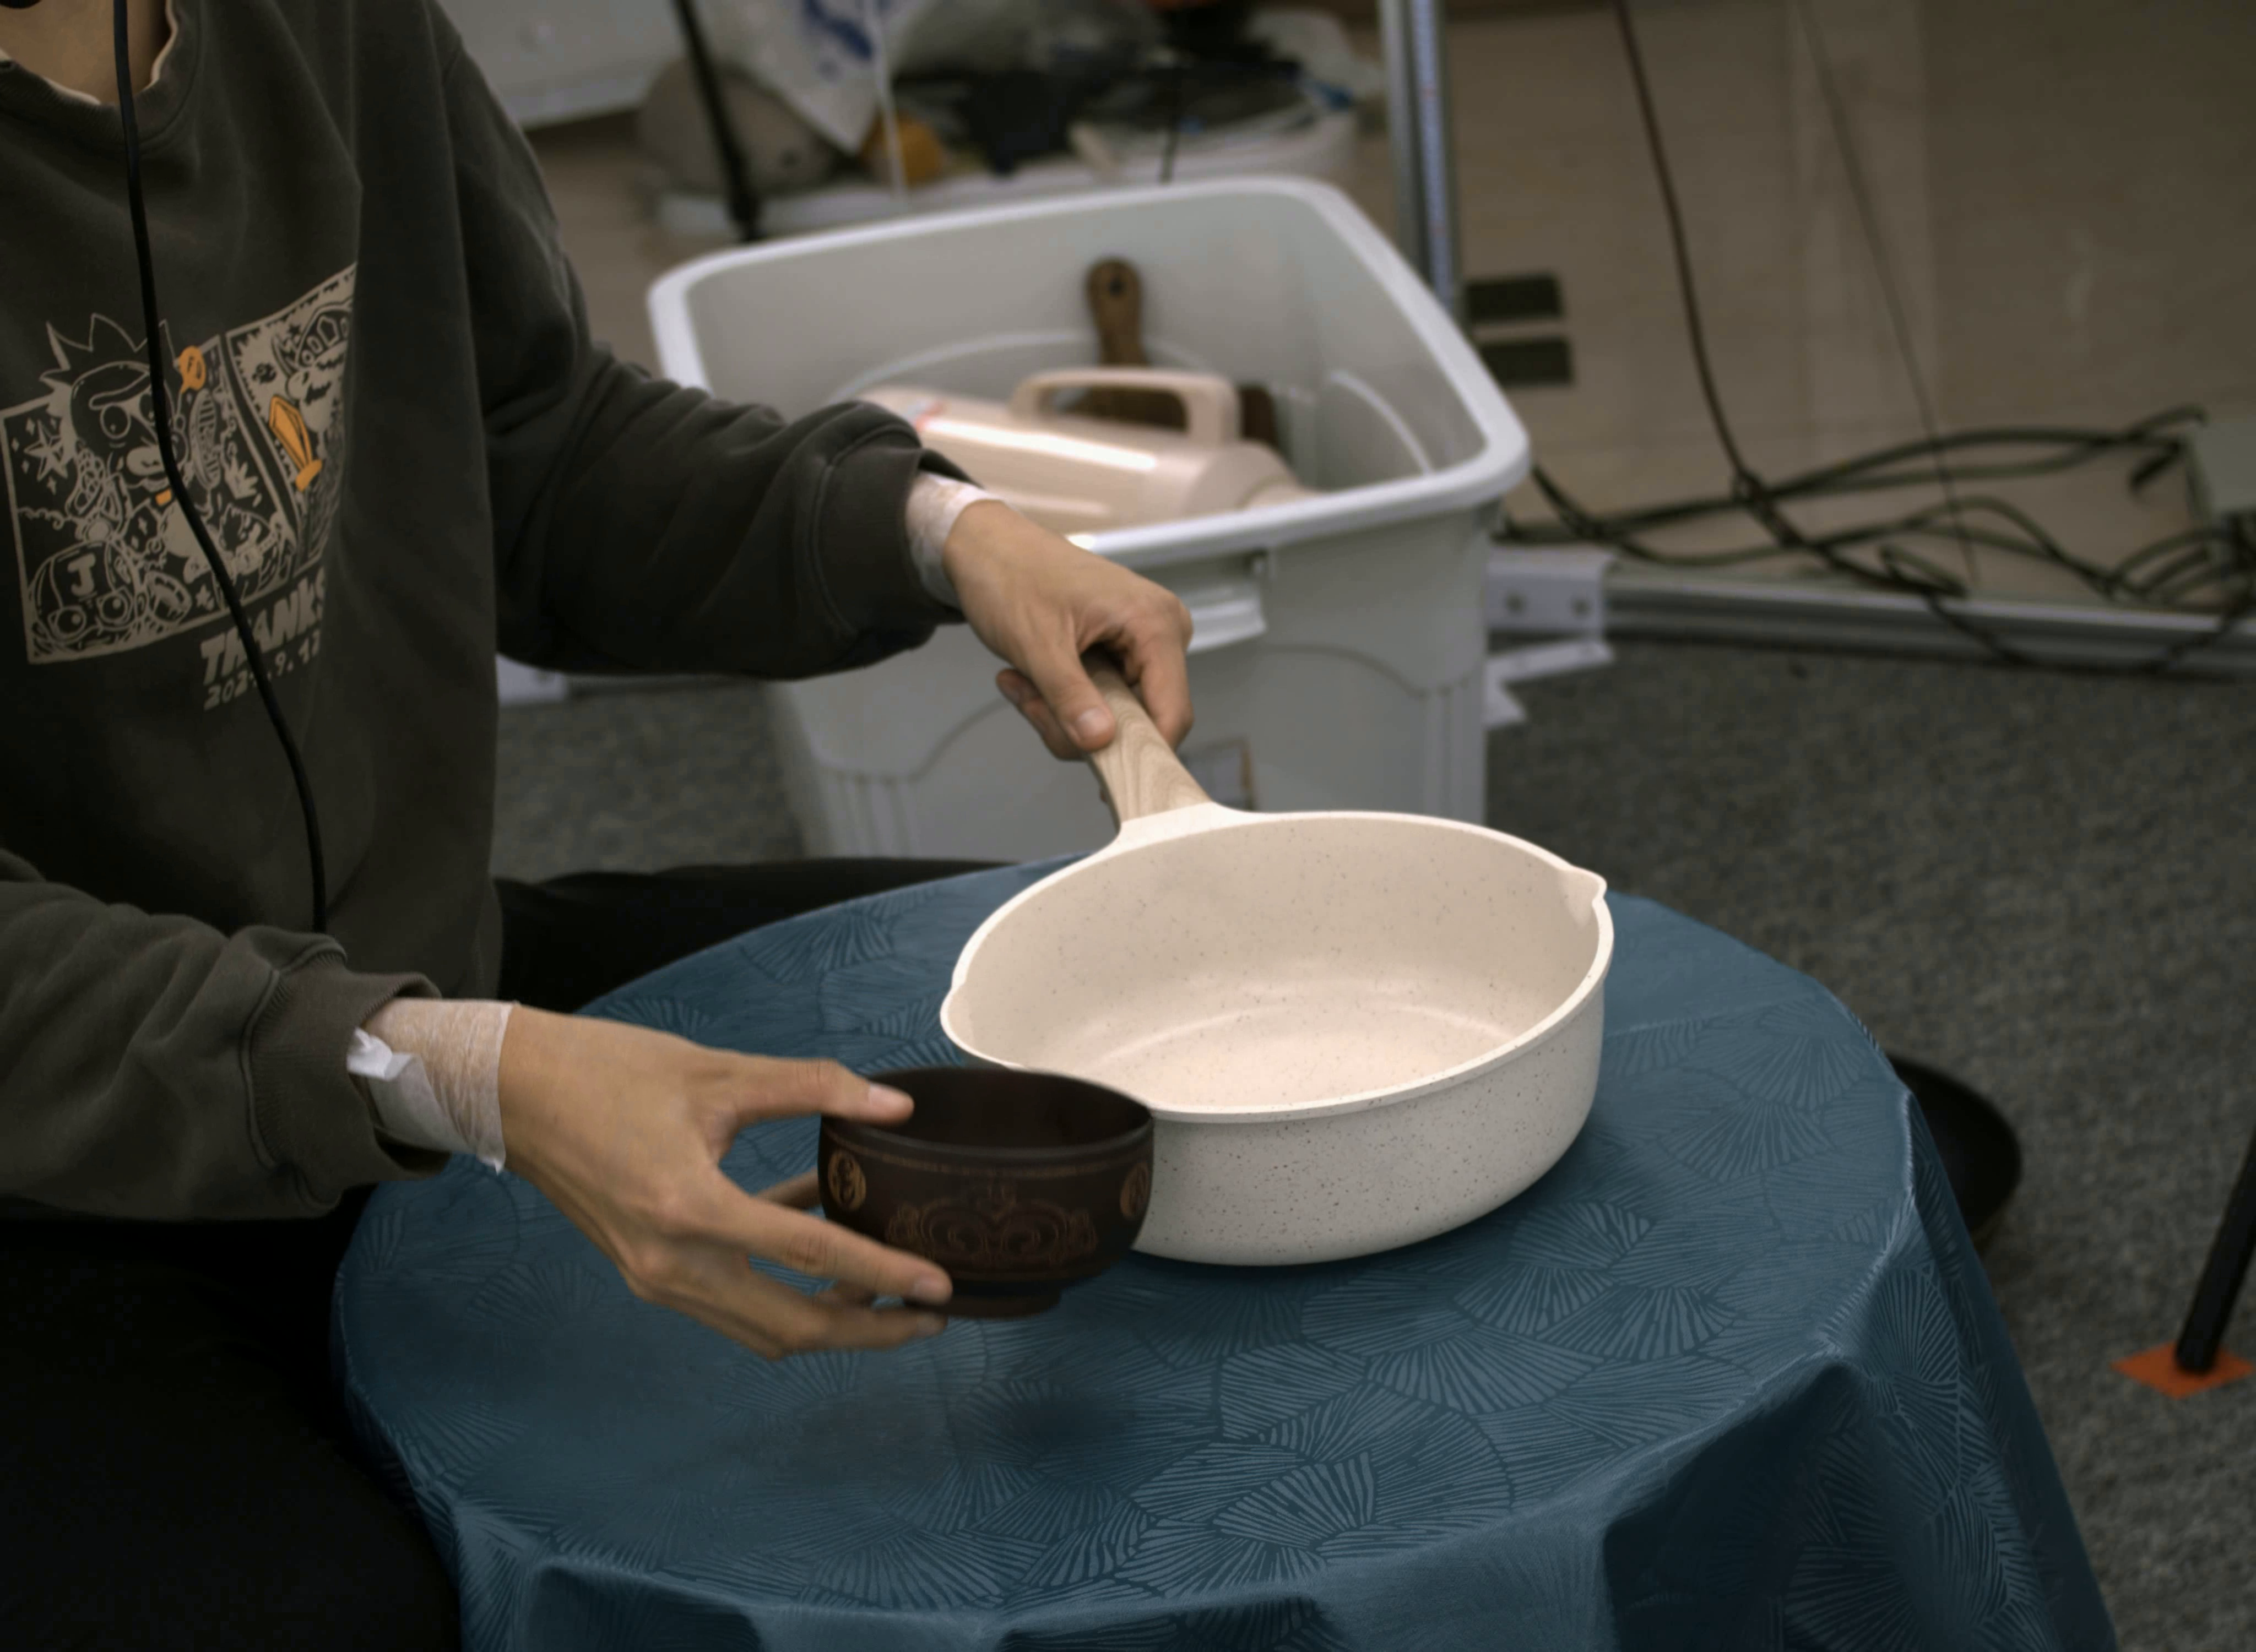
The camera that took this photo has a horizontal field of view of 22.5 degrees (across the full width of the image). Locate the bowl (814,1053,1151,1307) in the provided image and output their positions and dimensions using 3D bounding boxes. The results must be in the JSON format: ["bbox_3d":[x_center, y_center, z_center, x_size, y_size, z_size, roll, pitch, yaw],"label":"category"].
[{"bbox_3d":[-0.051,0.126,1.970,0.118,0.070,0.117,1,12,0],"label":"bowl"}]

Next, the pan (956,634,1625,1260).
[{"bbox_3d":[0.038,0.042,2.228,0.262,0.103,0.429,-15,26,-13],"label":"pan"}]
